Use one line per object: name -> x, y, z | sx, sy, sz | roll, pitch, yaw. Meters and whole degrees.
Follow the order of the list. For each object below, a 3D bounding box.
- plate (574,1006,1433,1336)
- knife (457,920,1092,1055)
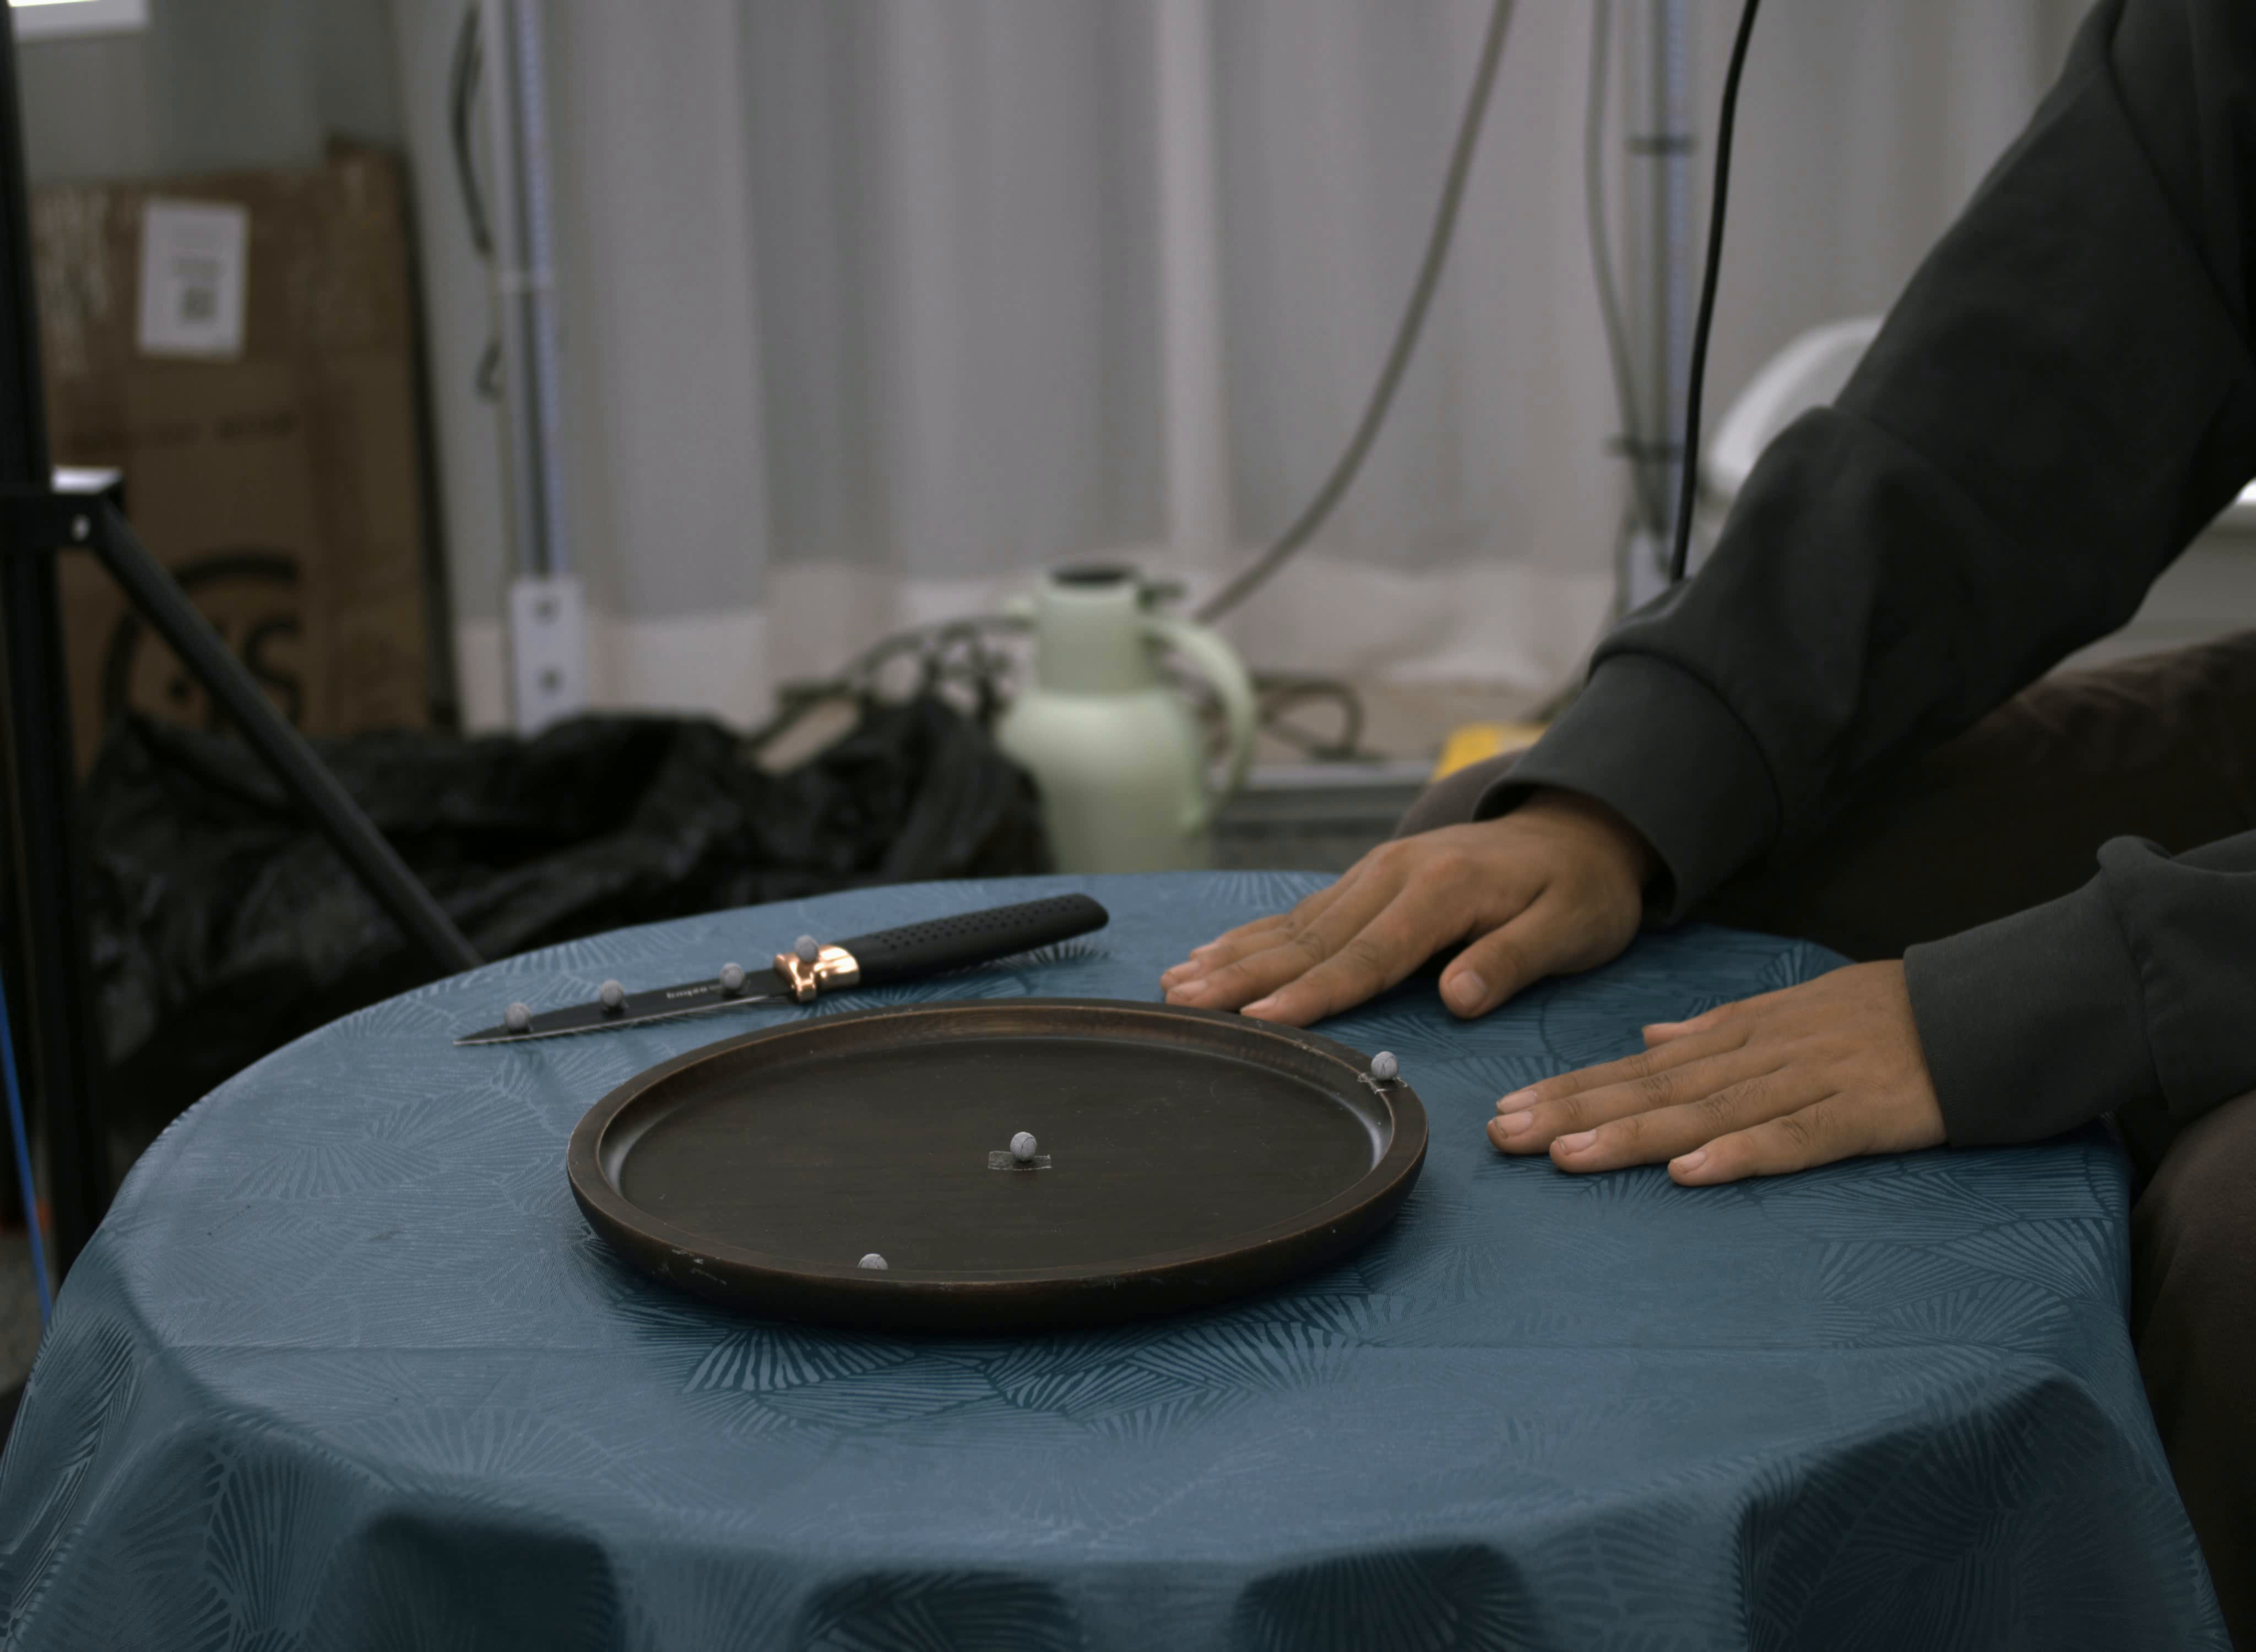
plate -> -0.036, 0.098, 1.555 | 0.253, 0.029, 0.256 | -2, 15, -1
knife -> -0.113, 0.054, 1.747 | 0.221, 0.017, 0.027 | -9, 23, -19
